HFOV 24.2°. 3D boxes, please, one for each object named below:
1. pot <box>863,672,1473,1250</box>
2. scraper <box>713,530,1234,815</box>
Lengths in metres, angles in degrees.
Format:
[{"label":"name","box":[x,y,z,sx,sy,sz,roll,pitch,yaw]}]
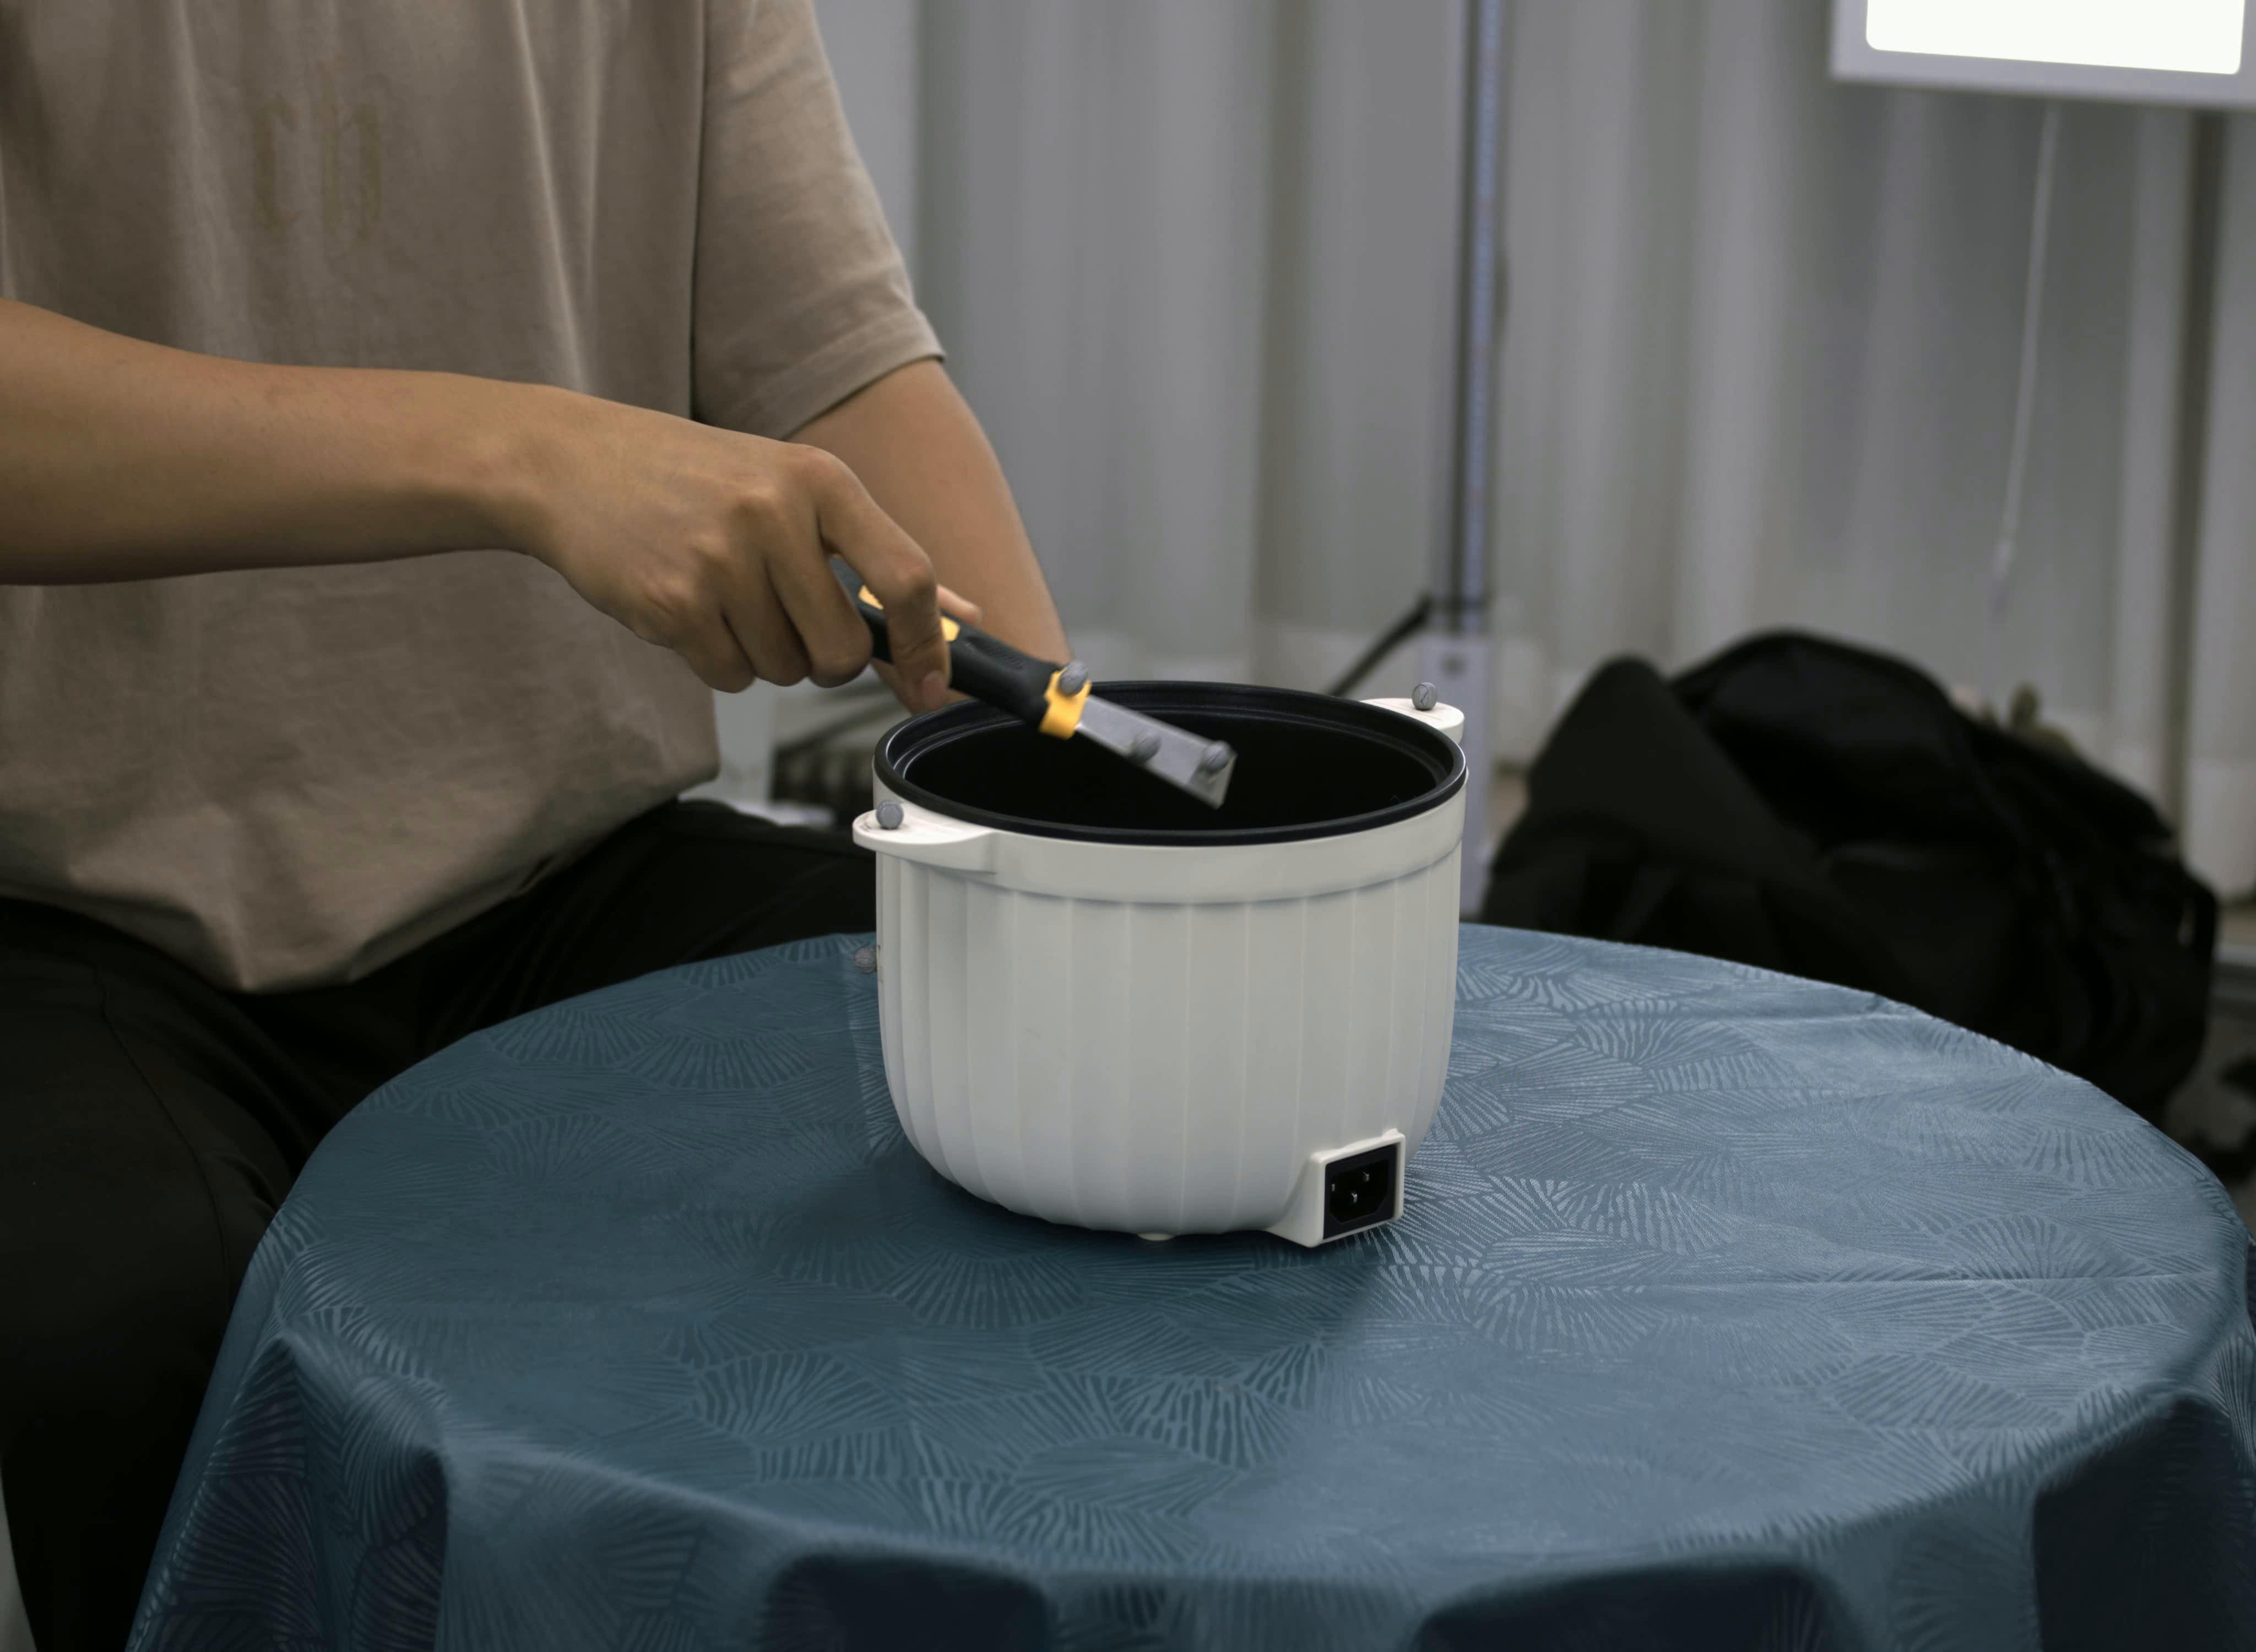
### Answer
[{"label":"pot","box":[0.008,0.040,1.624,0.241,0.144,0.188,-13,25,-42]},{"label":"scraper","box":[-0.047,-0.047,1.597,0.171,0.015,0.038,25,35,-8]}]
